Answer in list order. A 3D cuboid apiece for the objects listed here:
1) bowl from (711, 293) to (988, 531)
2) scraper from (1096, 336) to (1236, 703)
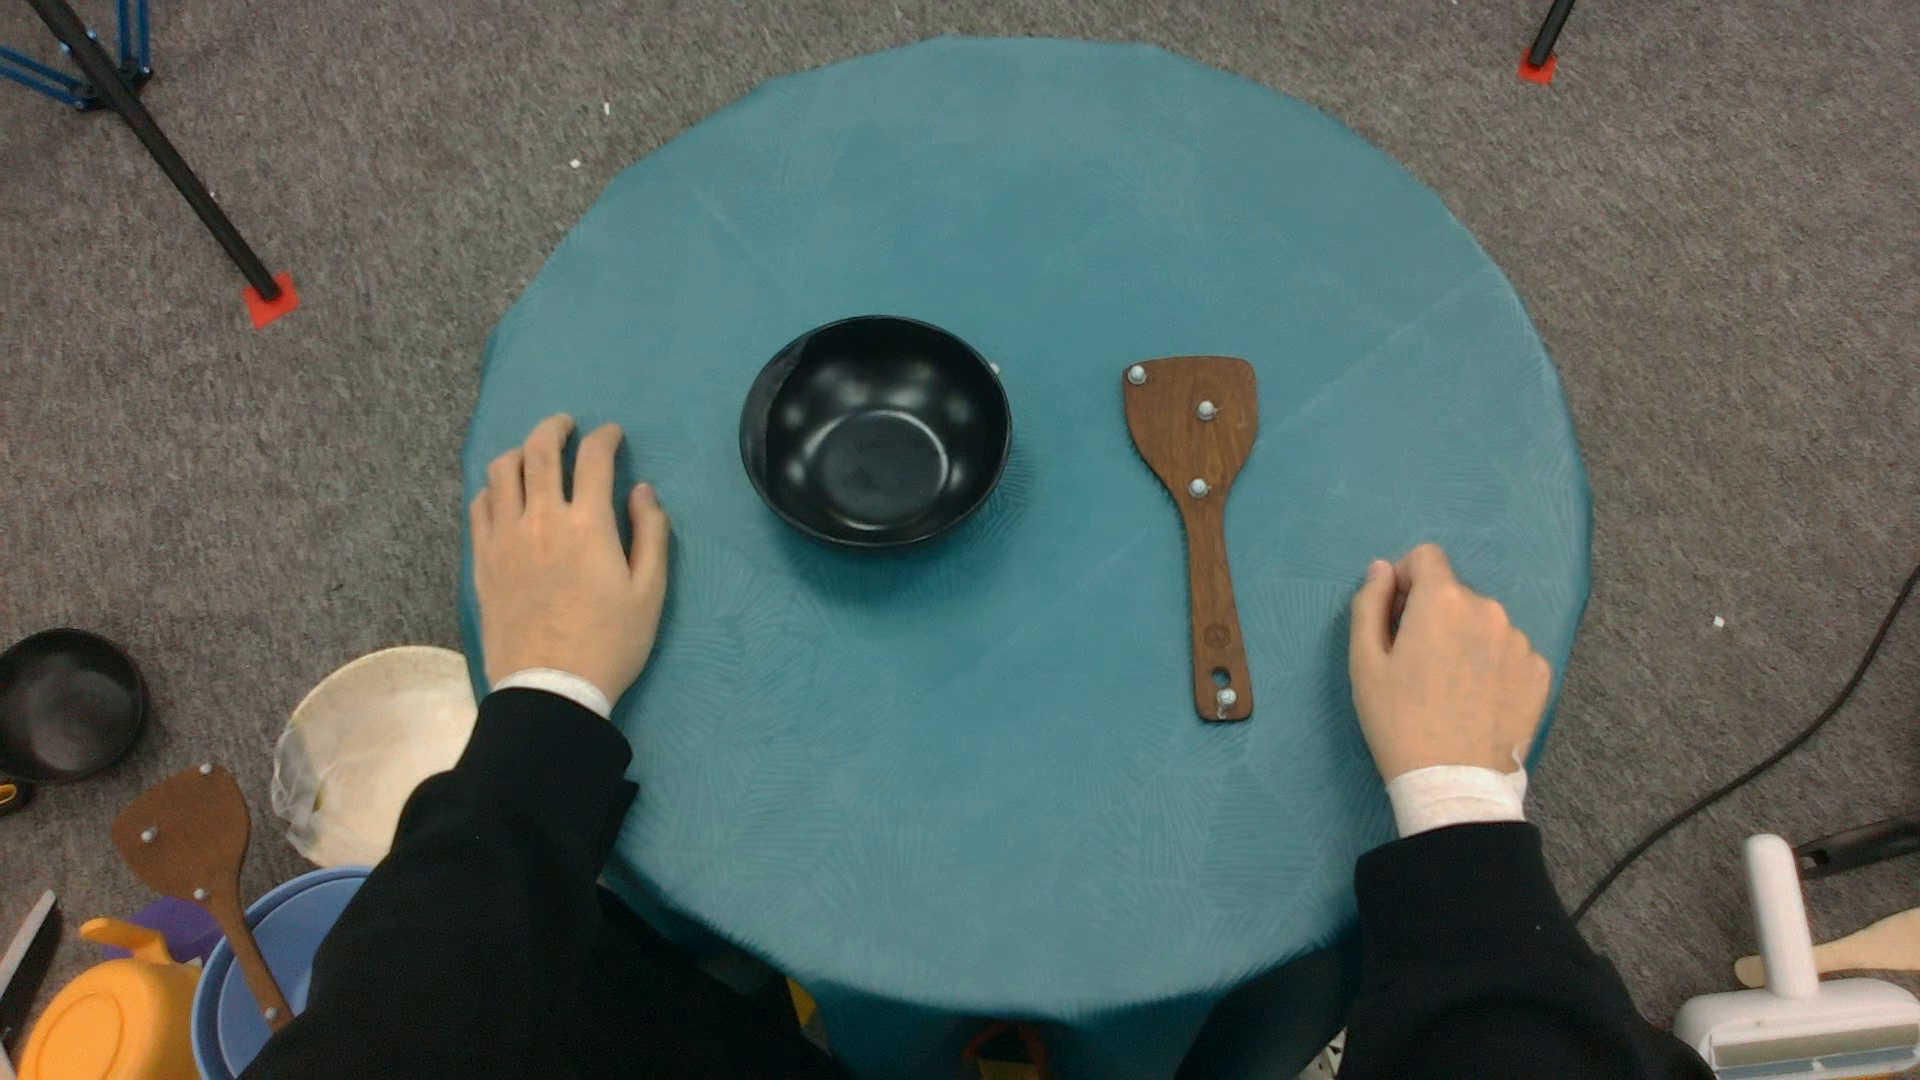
[{"bbox_3d":[-0.057,-0.059,0.711,0.140,0.049,0.140,2,60,-3],"label":"bowl"},{"bbox_3d":[0.115,-0.016,0.717,0.076,0.011,0.212,-1,64,0],"label":"scraper"}]
